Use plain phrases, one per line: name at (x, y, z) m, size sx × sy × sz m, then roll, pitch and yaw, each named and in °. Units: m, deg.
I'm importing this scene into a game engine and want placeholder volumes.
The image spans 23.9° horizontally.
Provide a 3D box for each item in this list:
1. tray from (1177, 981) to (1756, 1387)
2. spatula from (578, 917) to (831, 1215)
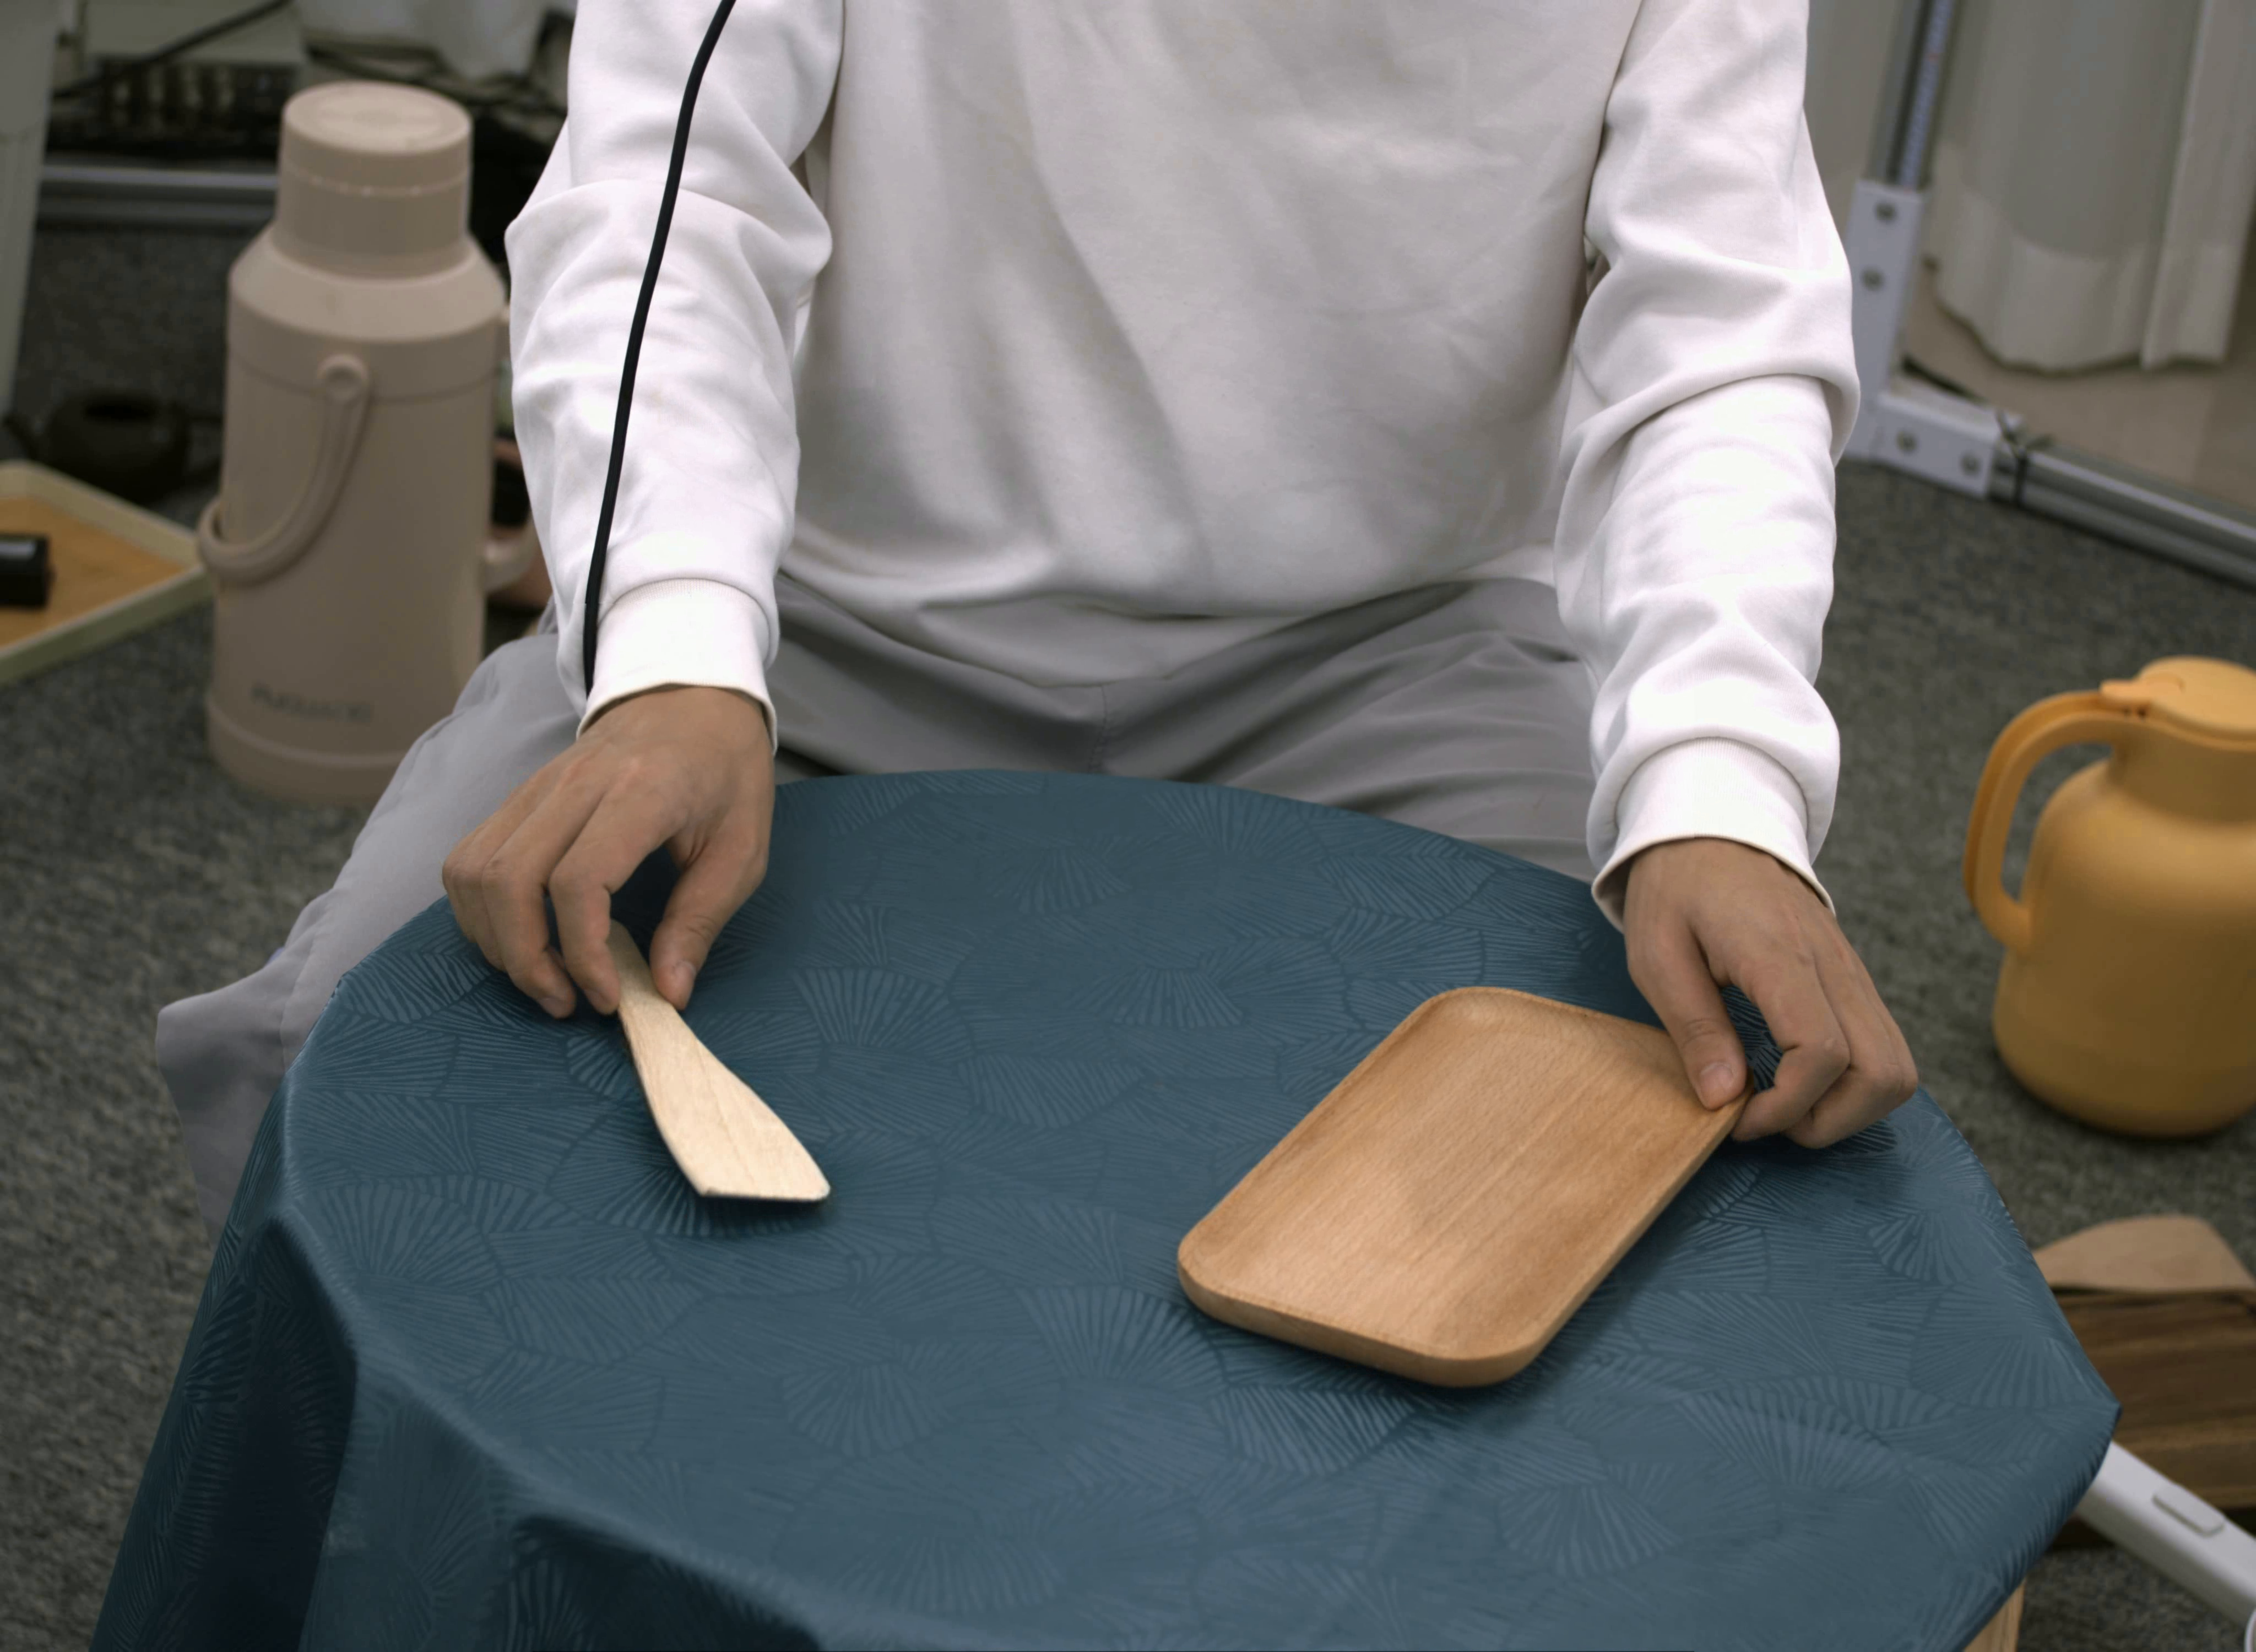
tray at (0.118, 0.119, 1.815) m, size 0.131 × 0.023 × 0.250 m, roll 18°, pitch 29°, yaw 22°
spatula at (-0.154, 0.081, 1.838) m, size 0.050 × 0.005 × 0.209 m, roll 6°, pitch 24°, yaw -25°
